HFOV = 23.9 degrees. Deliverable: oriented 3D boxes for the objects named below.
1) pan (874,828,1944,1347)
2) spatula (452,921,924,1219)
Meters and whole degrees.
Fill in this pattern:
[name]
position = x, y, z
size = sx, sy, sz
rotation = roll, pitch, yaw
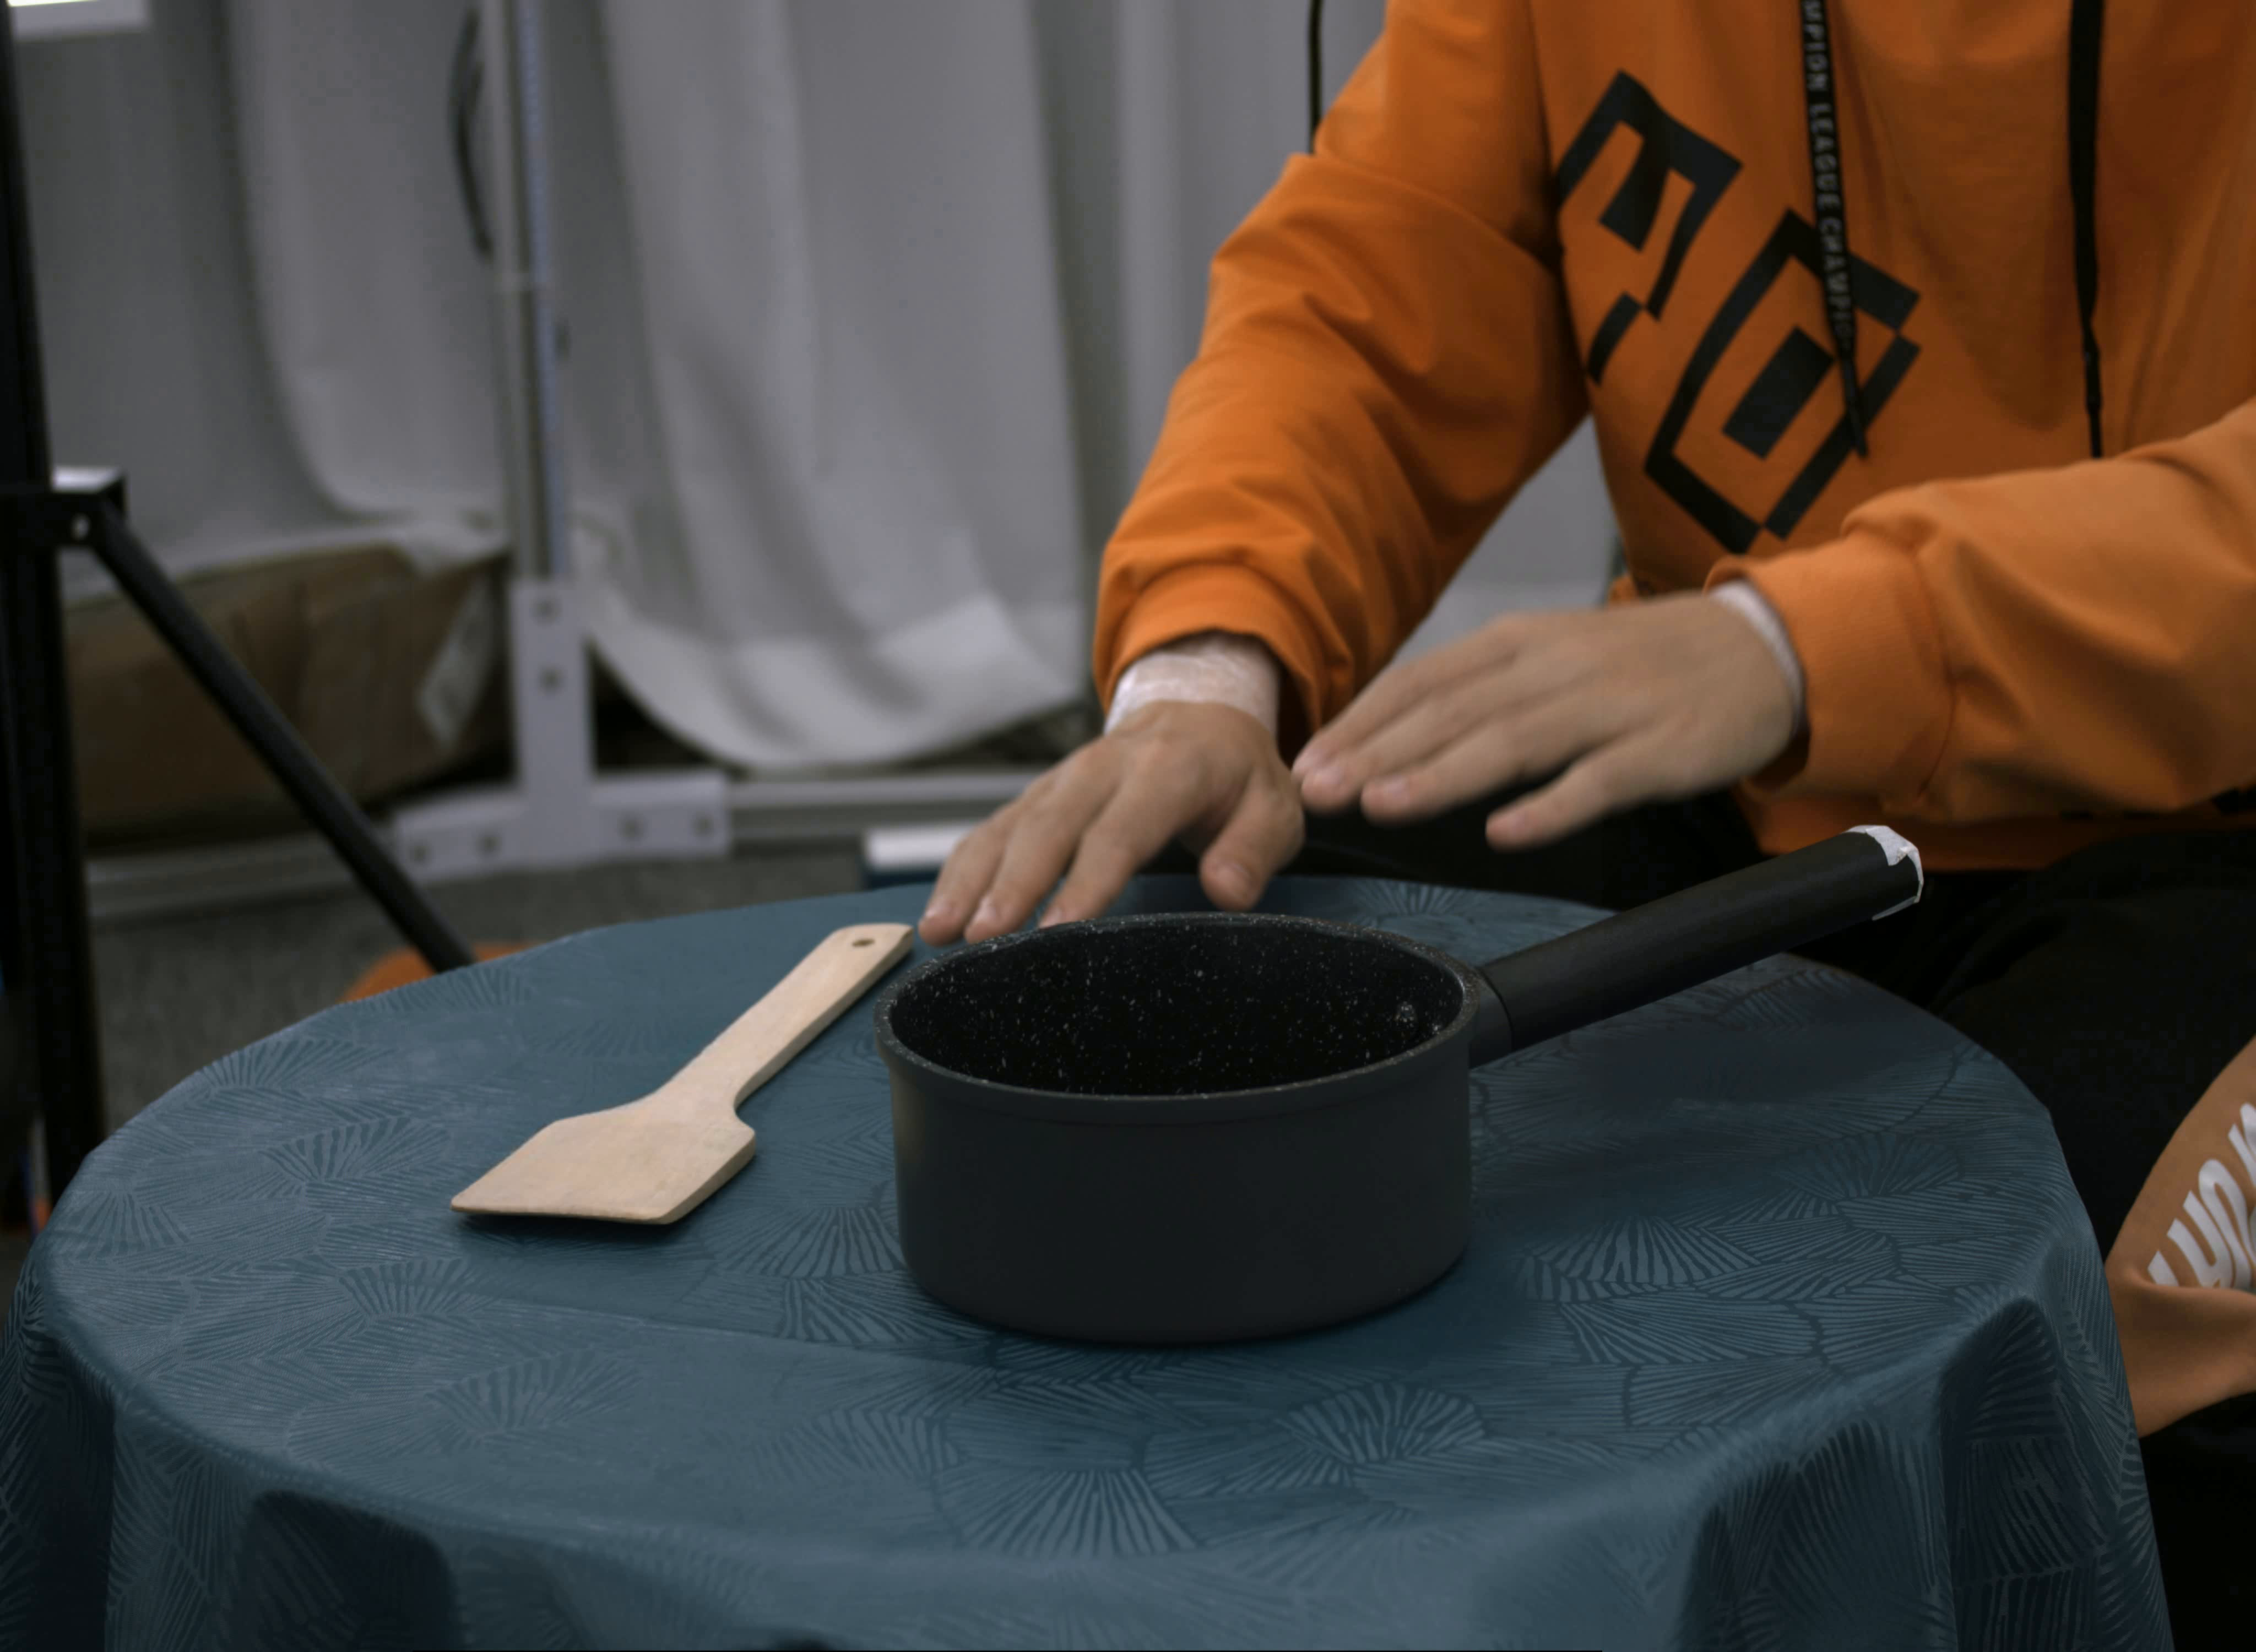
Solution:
[pan]
position = 0.088, 0.070, 1.523
size = 0.323, 0.086, 0.175
rotation = -10, 18, -20
[spatula]
position = -0.124, 0.075, 1.678
size = 0.073, 0.010, 0.290
rotation = -1, 16, 19
